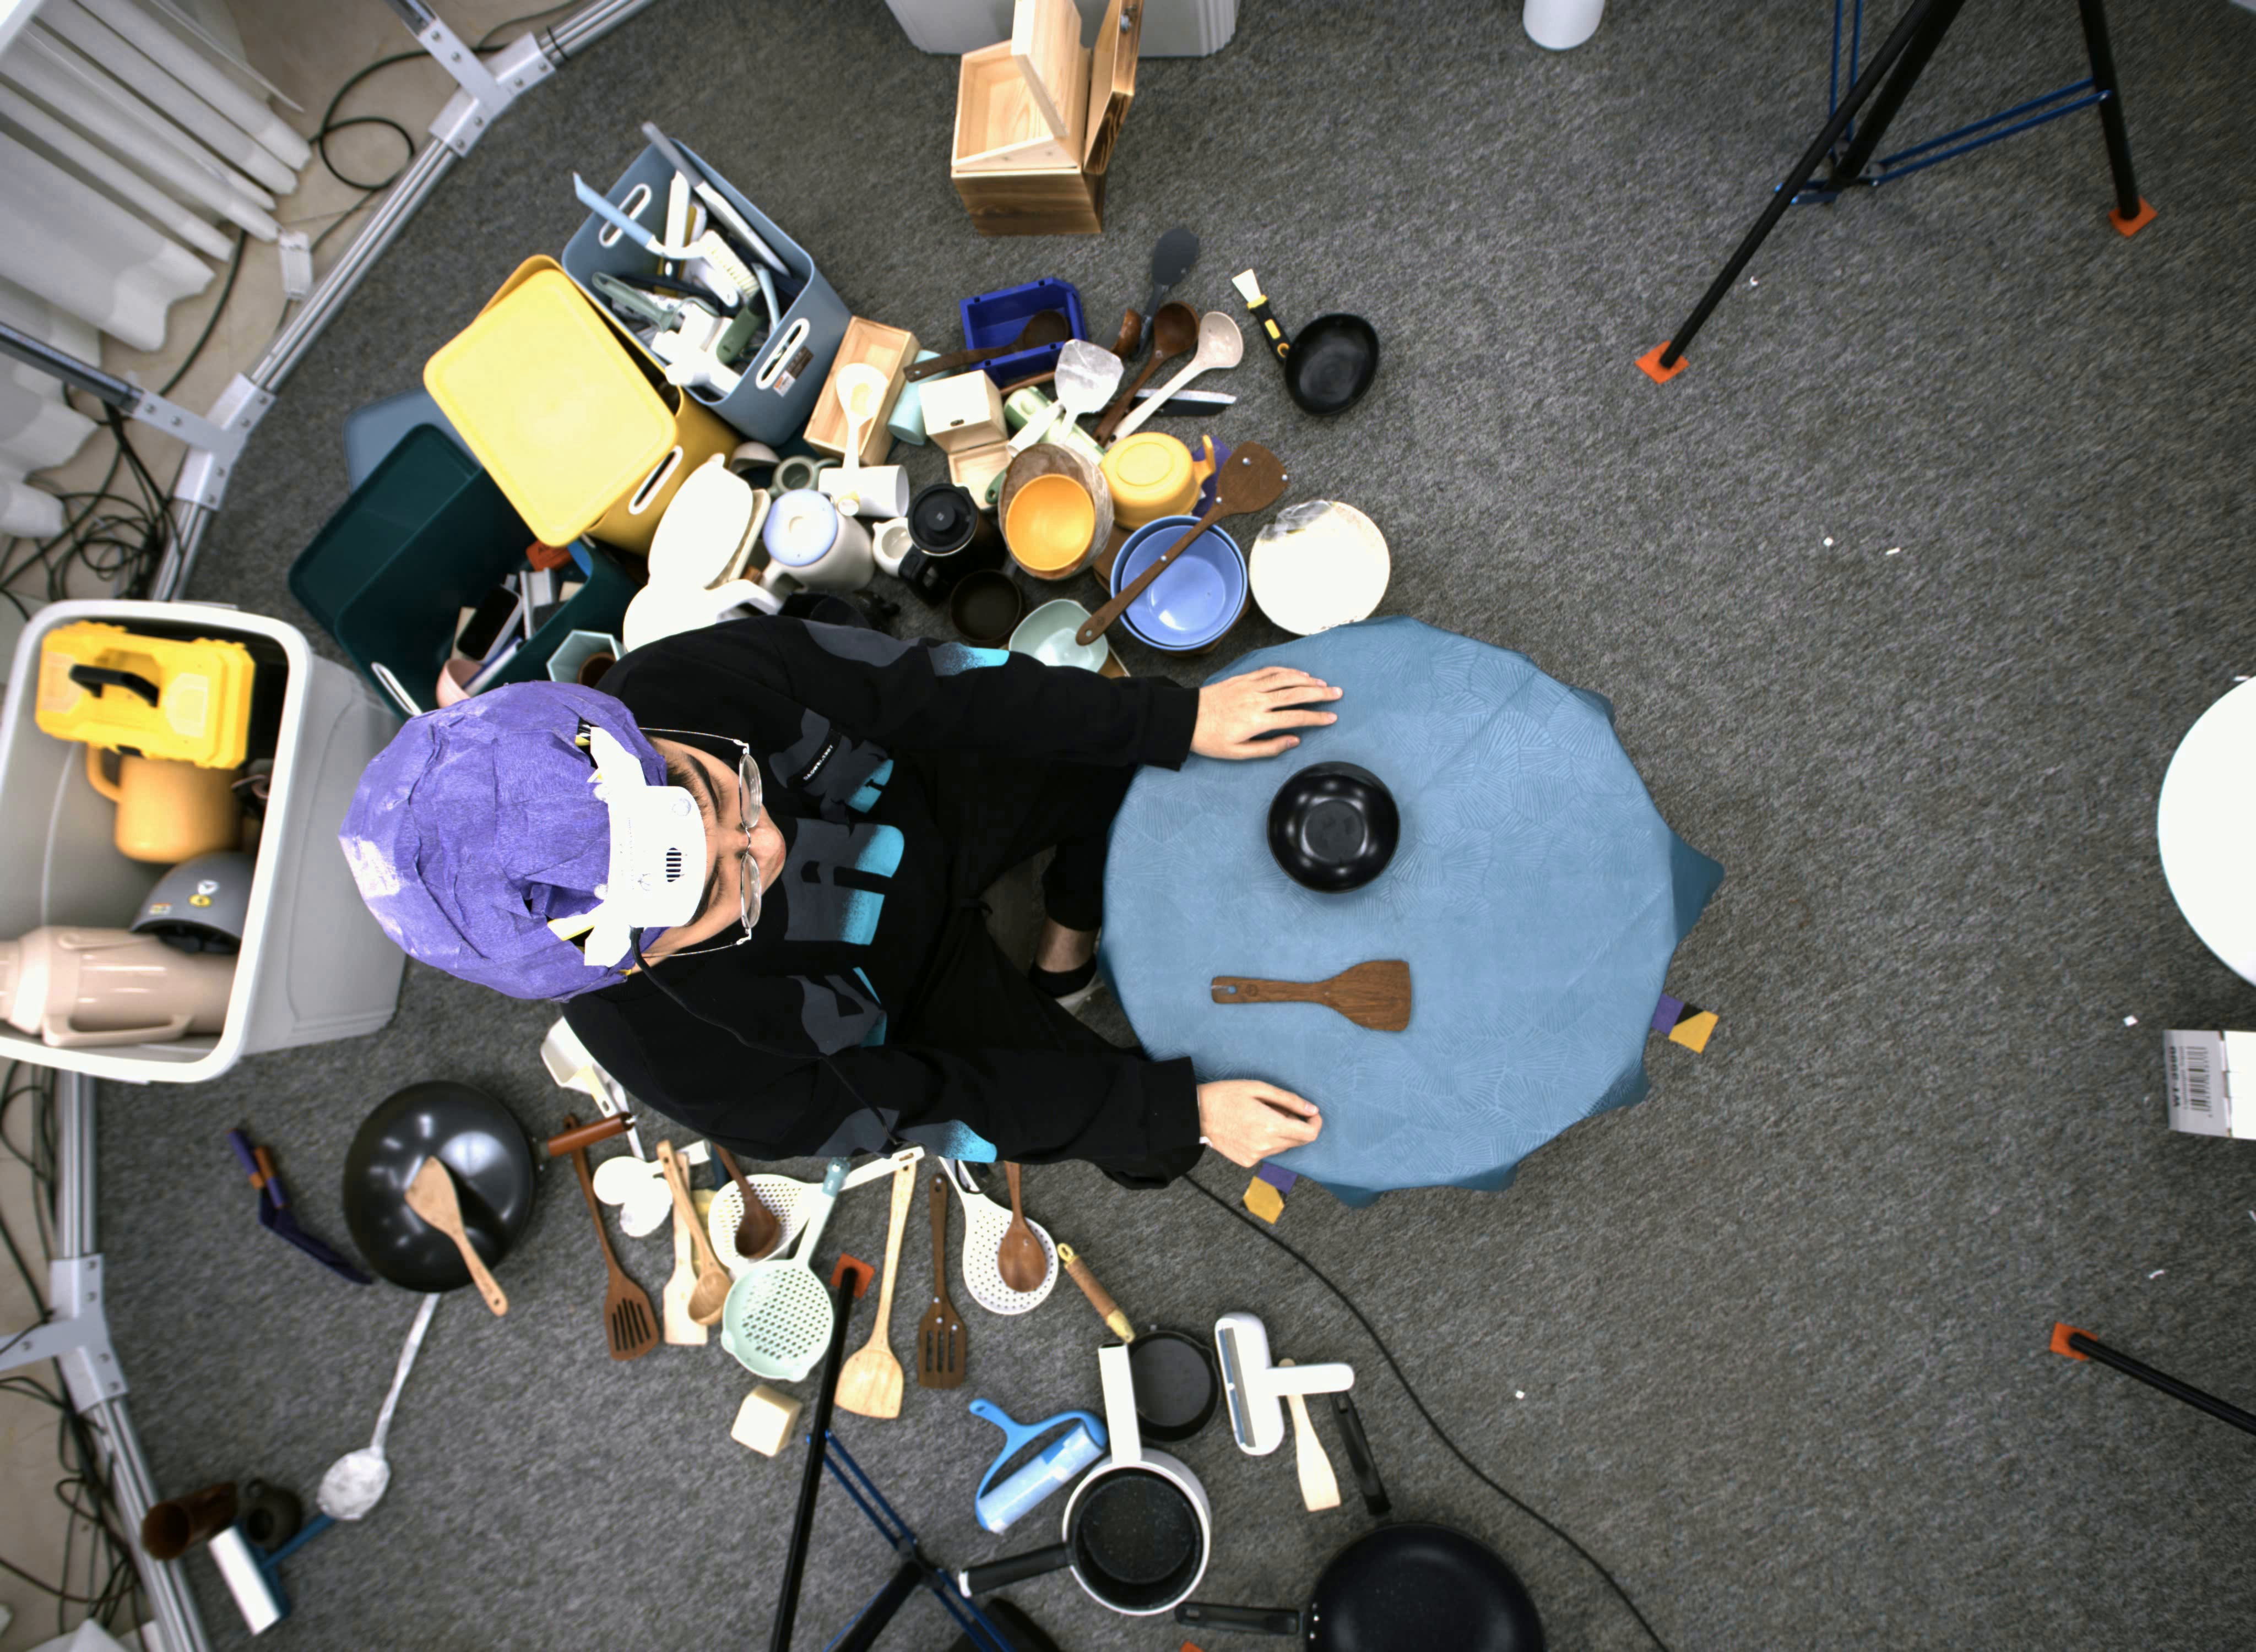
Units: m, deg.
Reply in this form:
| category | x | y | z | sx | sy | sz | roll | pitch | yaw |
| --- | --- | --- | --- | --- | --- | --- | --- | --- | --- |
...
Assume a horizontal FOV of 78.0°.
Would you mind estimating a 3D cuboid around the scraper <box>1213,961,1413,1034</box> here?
| category | x | y | z | sx | sy | sz | roll | pitch | yaw |
| --- | --- | --- | --- | --- | --- | --- | --- | --- | --- |
| scraper | 0.195 | 0.178 | 1.467 | 0.212 | 0.011 | 0.075 | 1 | 85 | 11 |

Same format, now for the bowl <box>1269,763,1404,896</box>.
| category | x | y | z | sx | sy | sz | roll | pitch | yaw |
| --- | --- | --- | --- | --- | --- | --- | --- | --- | --- |
| bowl | 0.219 | 0.004 | 1.455 | 0.140 | 0.050 | 0.139 | 0 | 89 | 10 |
